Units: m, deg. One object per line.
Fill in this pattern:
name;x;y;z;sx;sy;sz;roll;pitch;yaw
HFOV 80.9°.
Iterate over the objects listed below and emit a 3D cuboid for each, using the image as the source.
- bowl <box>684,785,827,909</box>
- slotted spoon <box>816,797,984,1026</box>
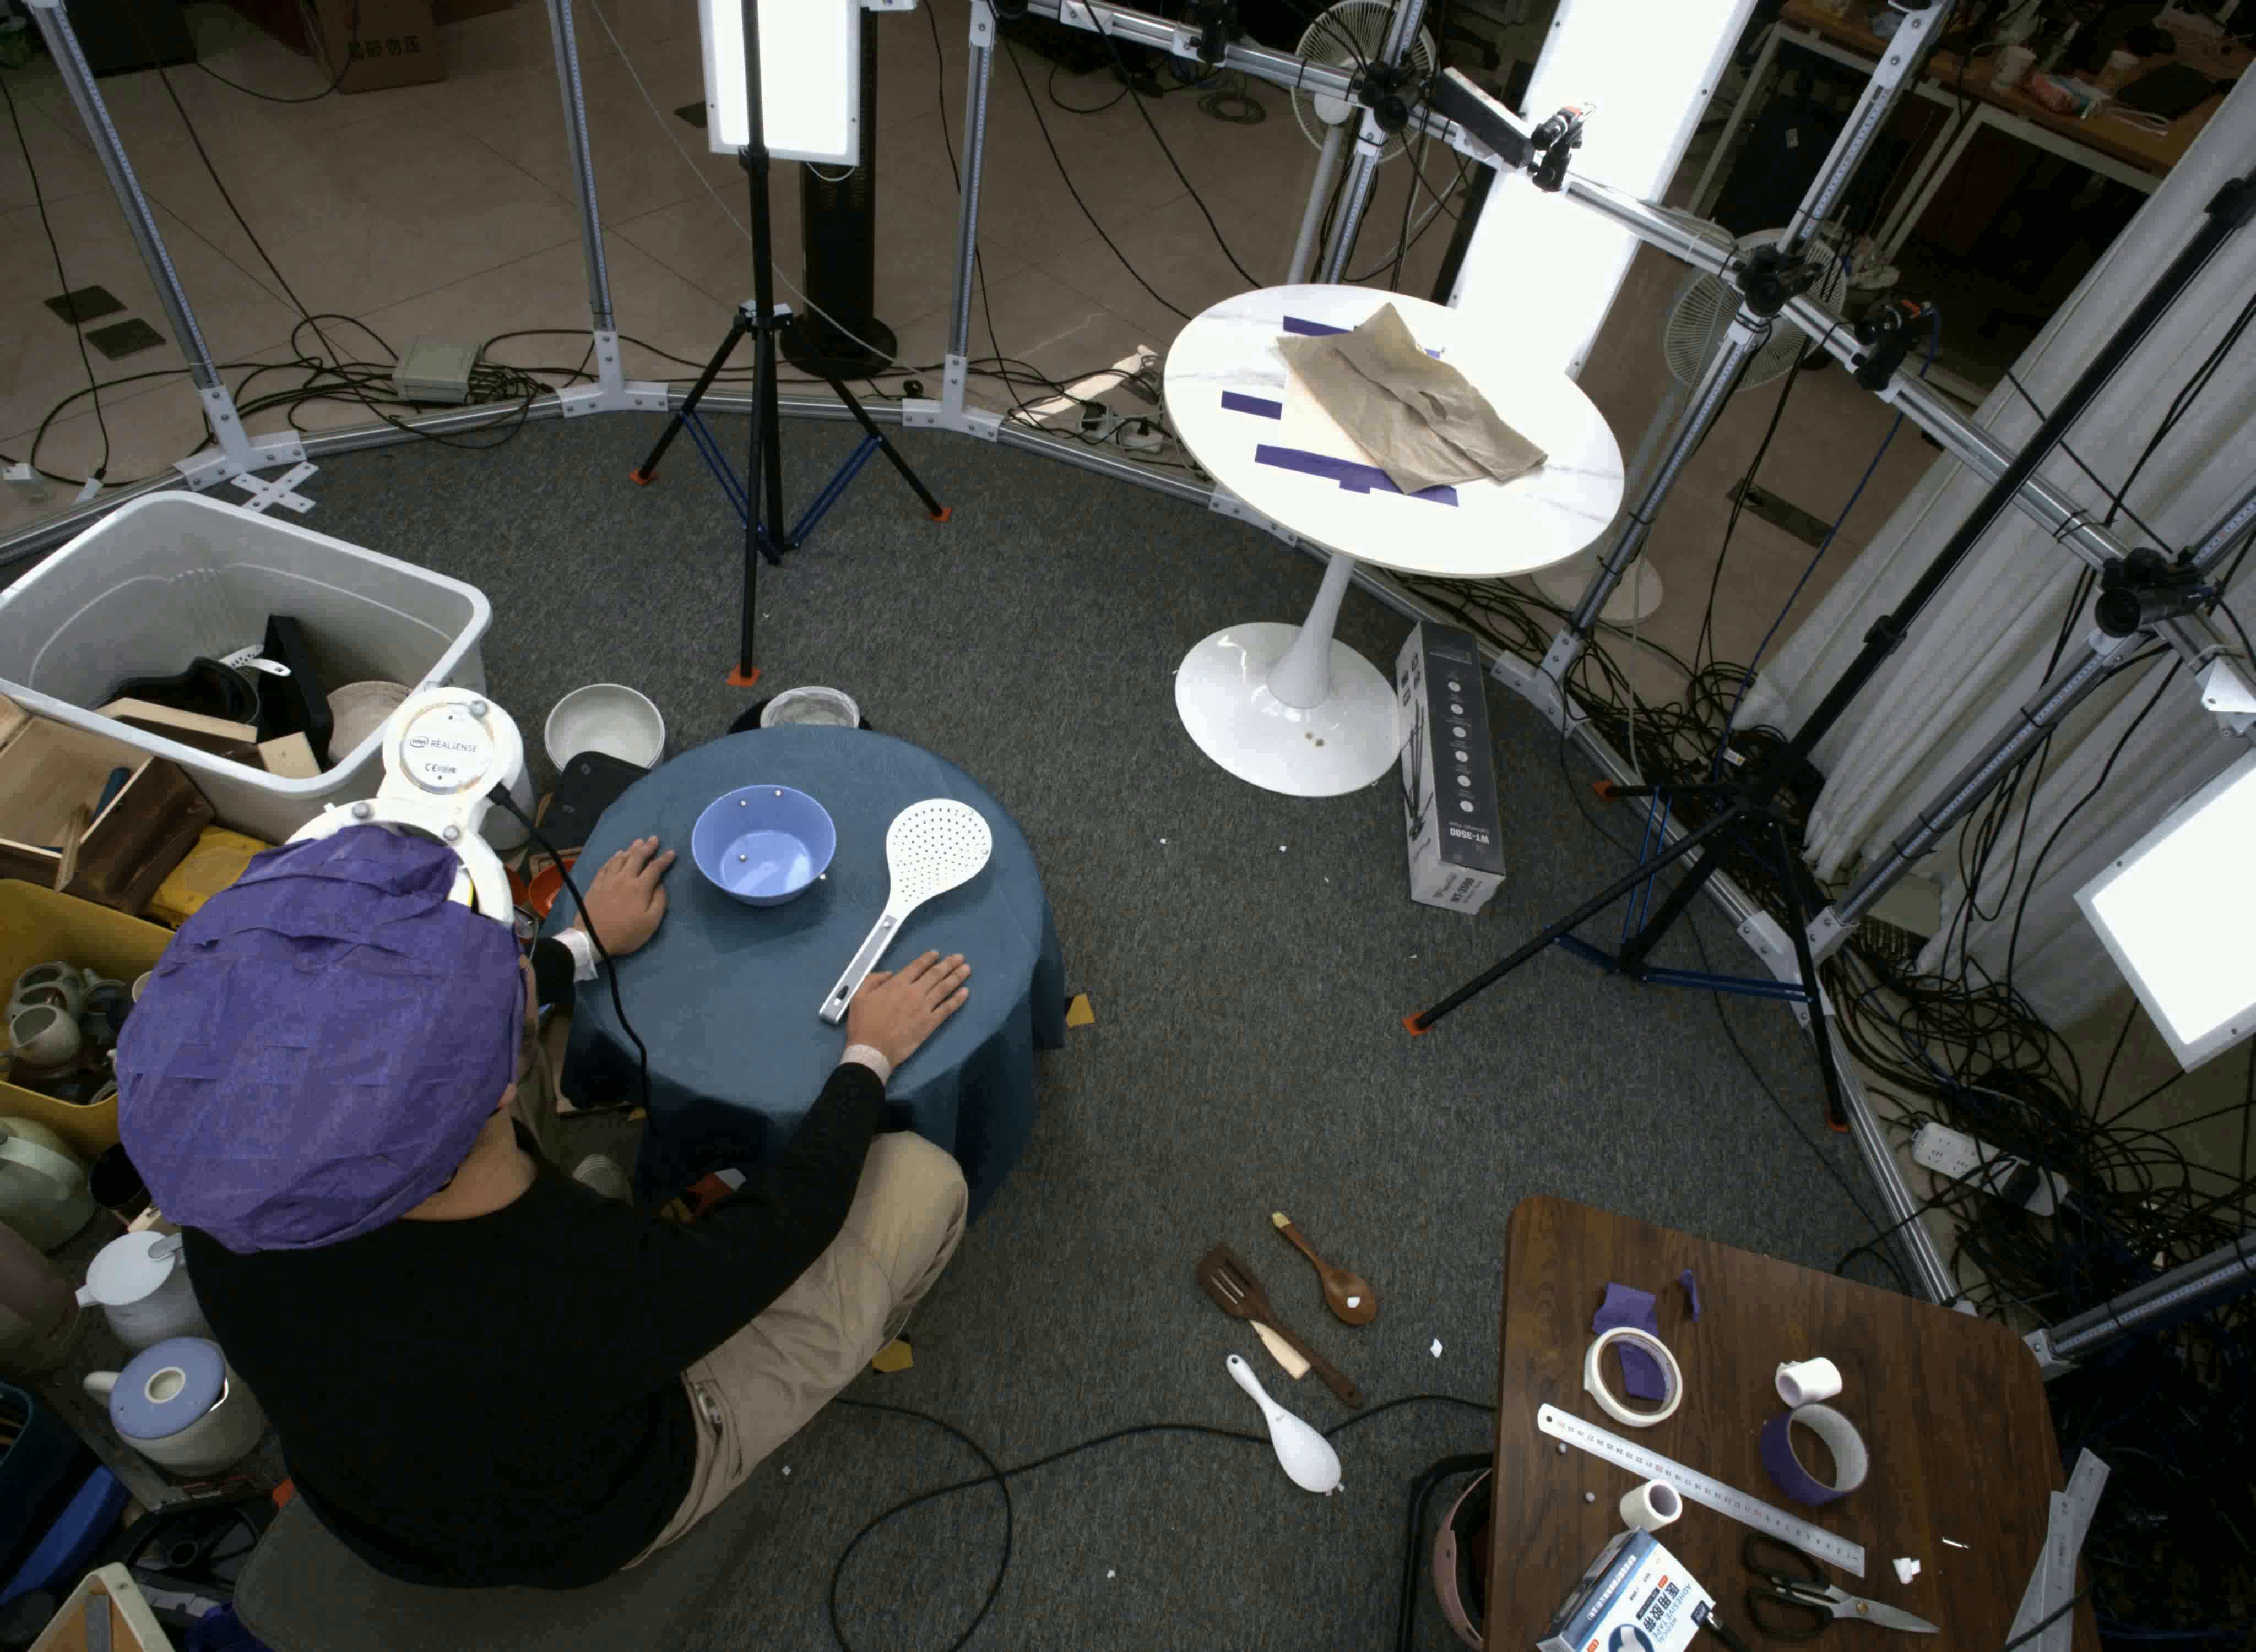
bowl;-0.469;0.036;1.635;0.176;0.071;0.173;8;53;-9
slotted spoon;-0.296;0.103;1.646;0.134;0.046;0.347;24;53;5
